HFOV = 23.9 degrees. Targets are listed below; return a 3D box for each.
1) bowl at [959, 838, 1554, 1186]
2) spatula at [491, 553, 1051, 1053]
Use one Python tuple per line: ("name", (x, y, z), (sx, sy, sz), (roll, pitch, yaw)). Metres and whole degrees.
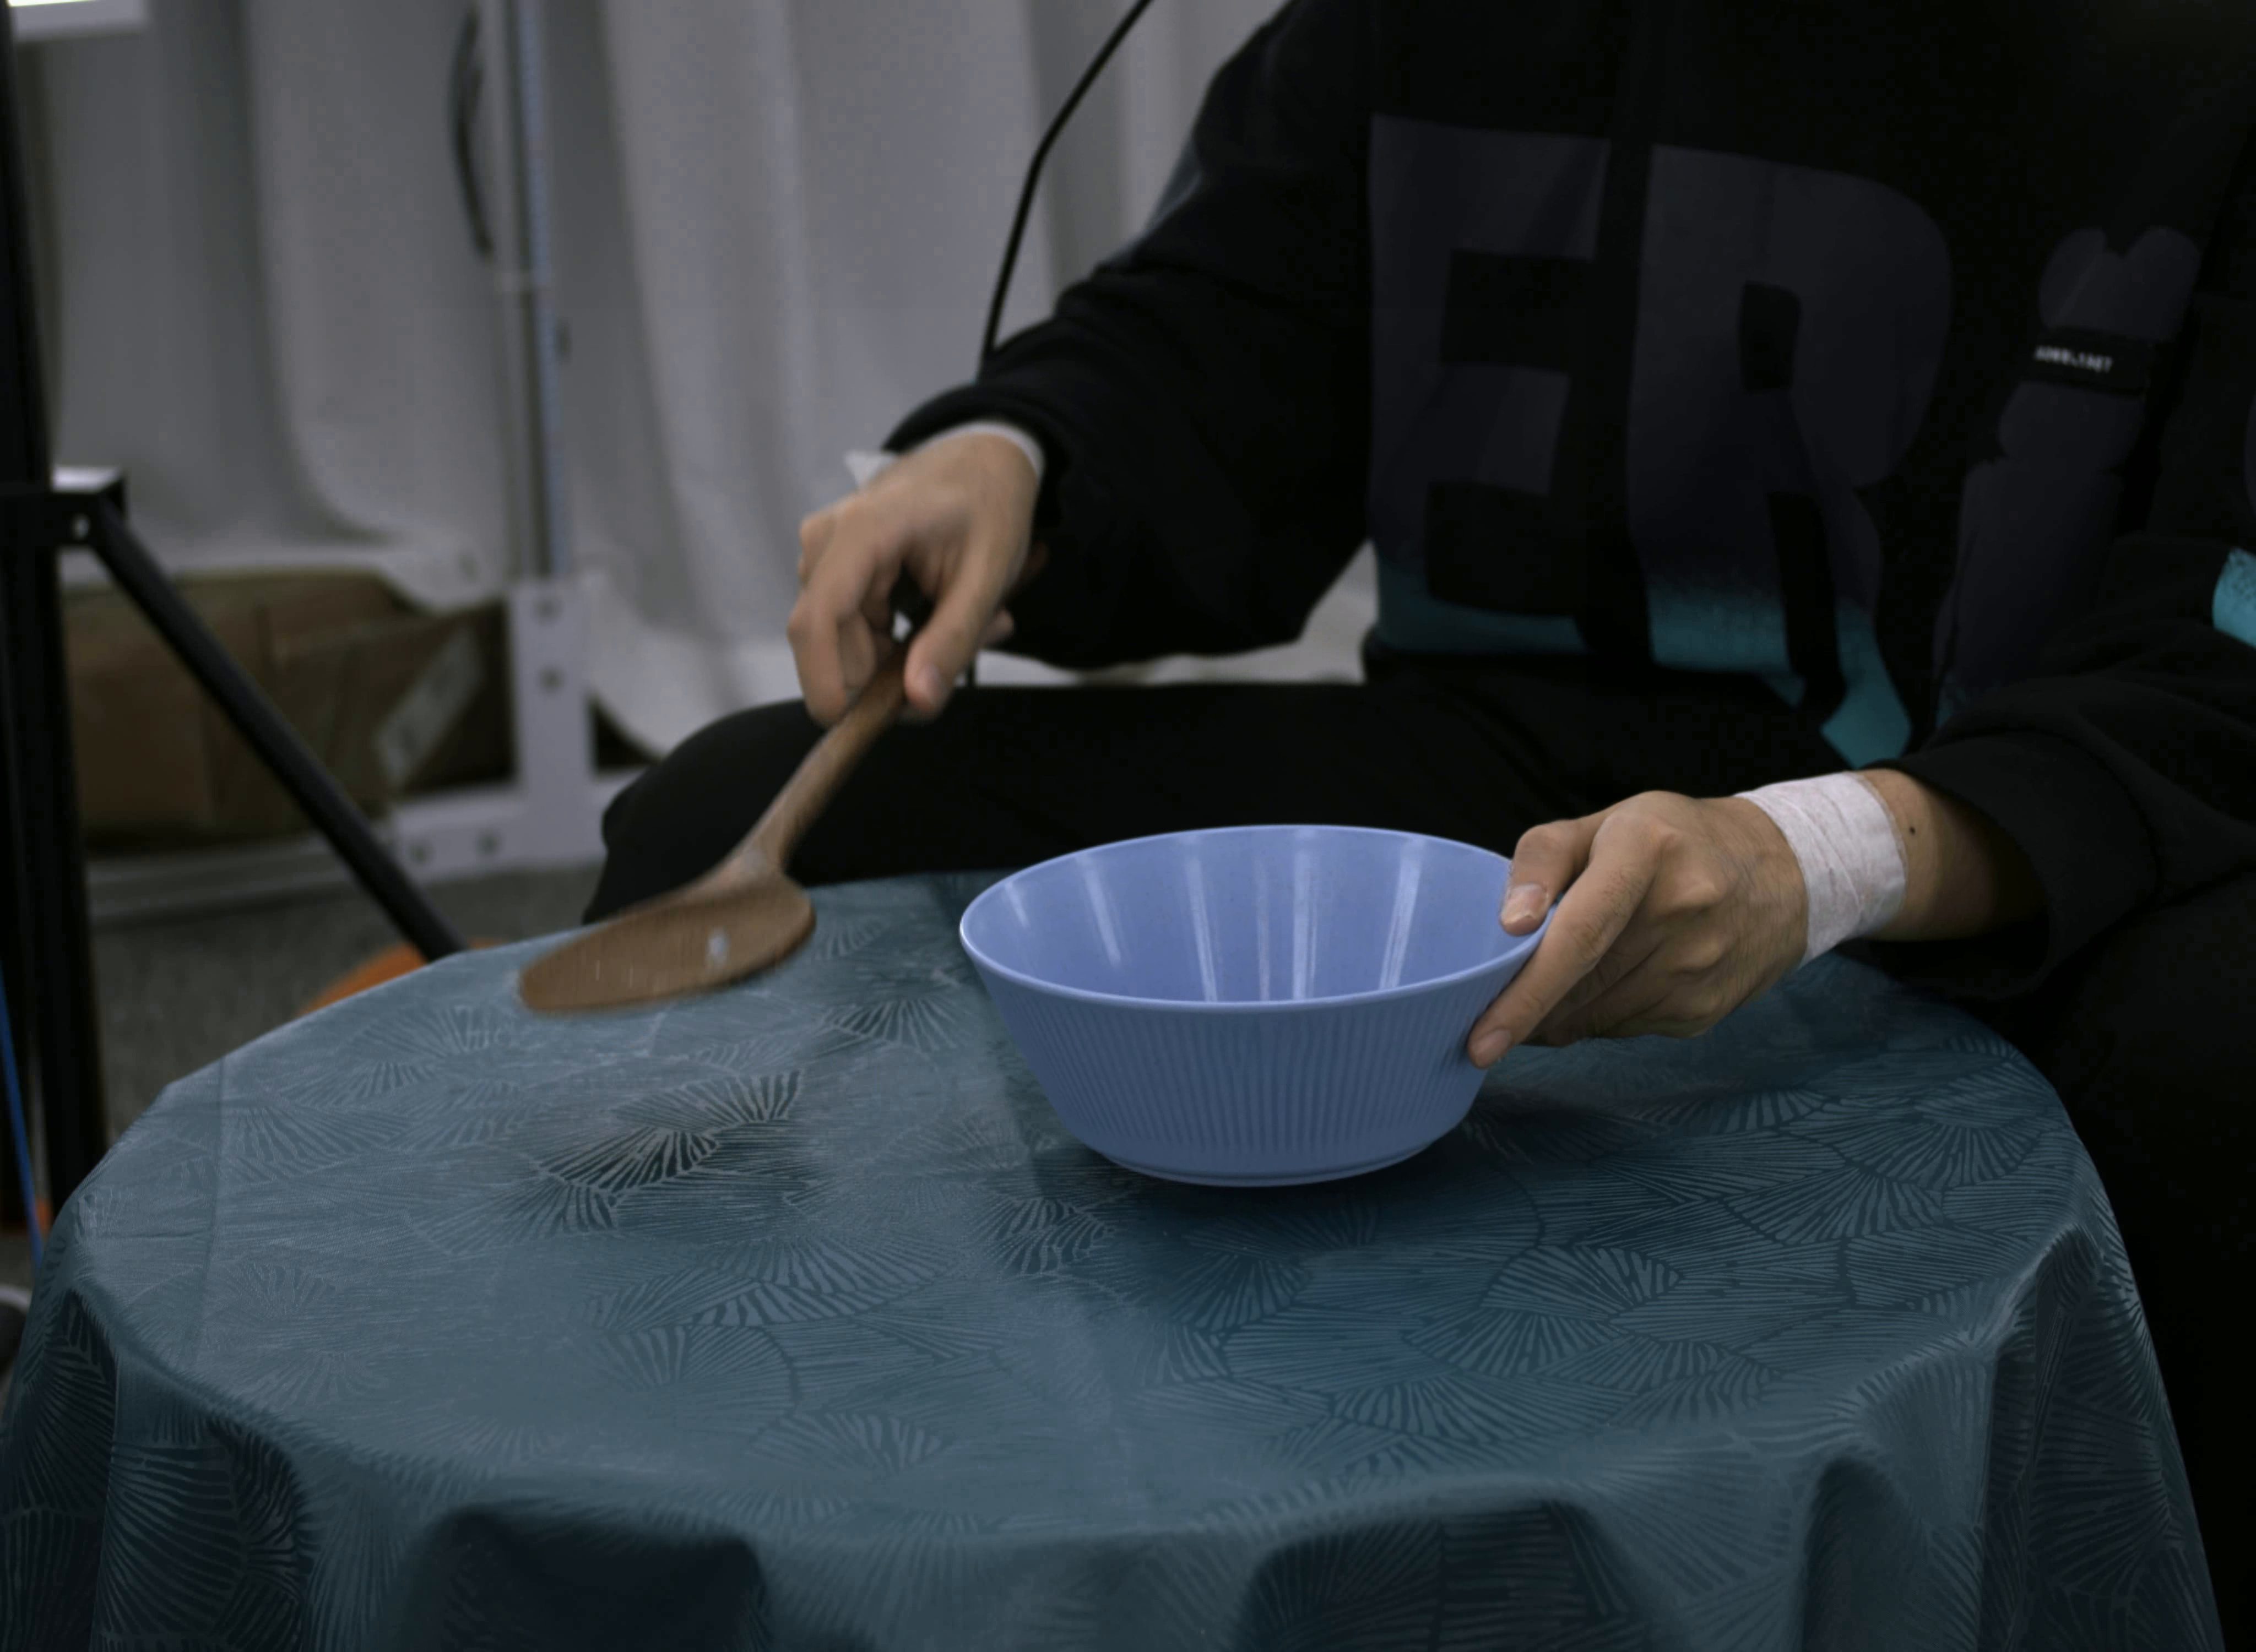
("bowl", (0.038, 0.057, 1.569), (0.175, 0.070, 0.177), (-2, 15, -1))
("spatula", (-0.095, -0.015, 1.730), (0.097, 0.015, 0.383), (-7, 23, 23))
